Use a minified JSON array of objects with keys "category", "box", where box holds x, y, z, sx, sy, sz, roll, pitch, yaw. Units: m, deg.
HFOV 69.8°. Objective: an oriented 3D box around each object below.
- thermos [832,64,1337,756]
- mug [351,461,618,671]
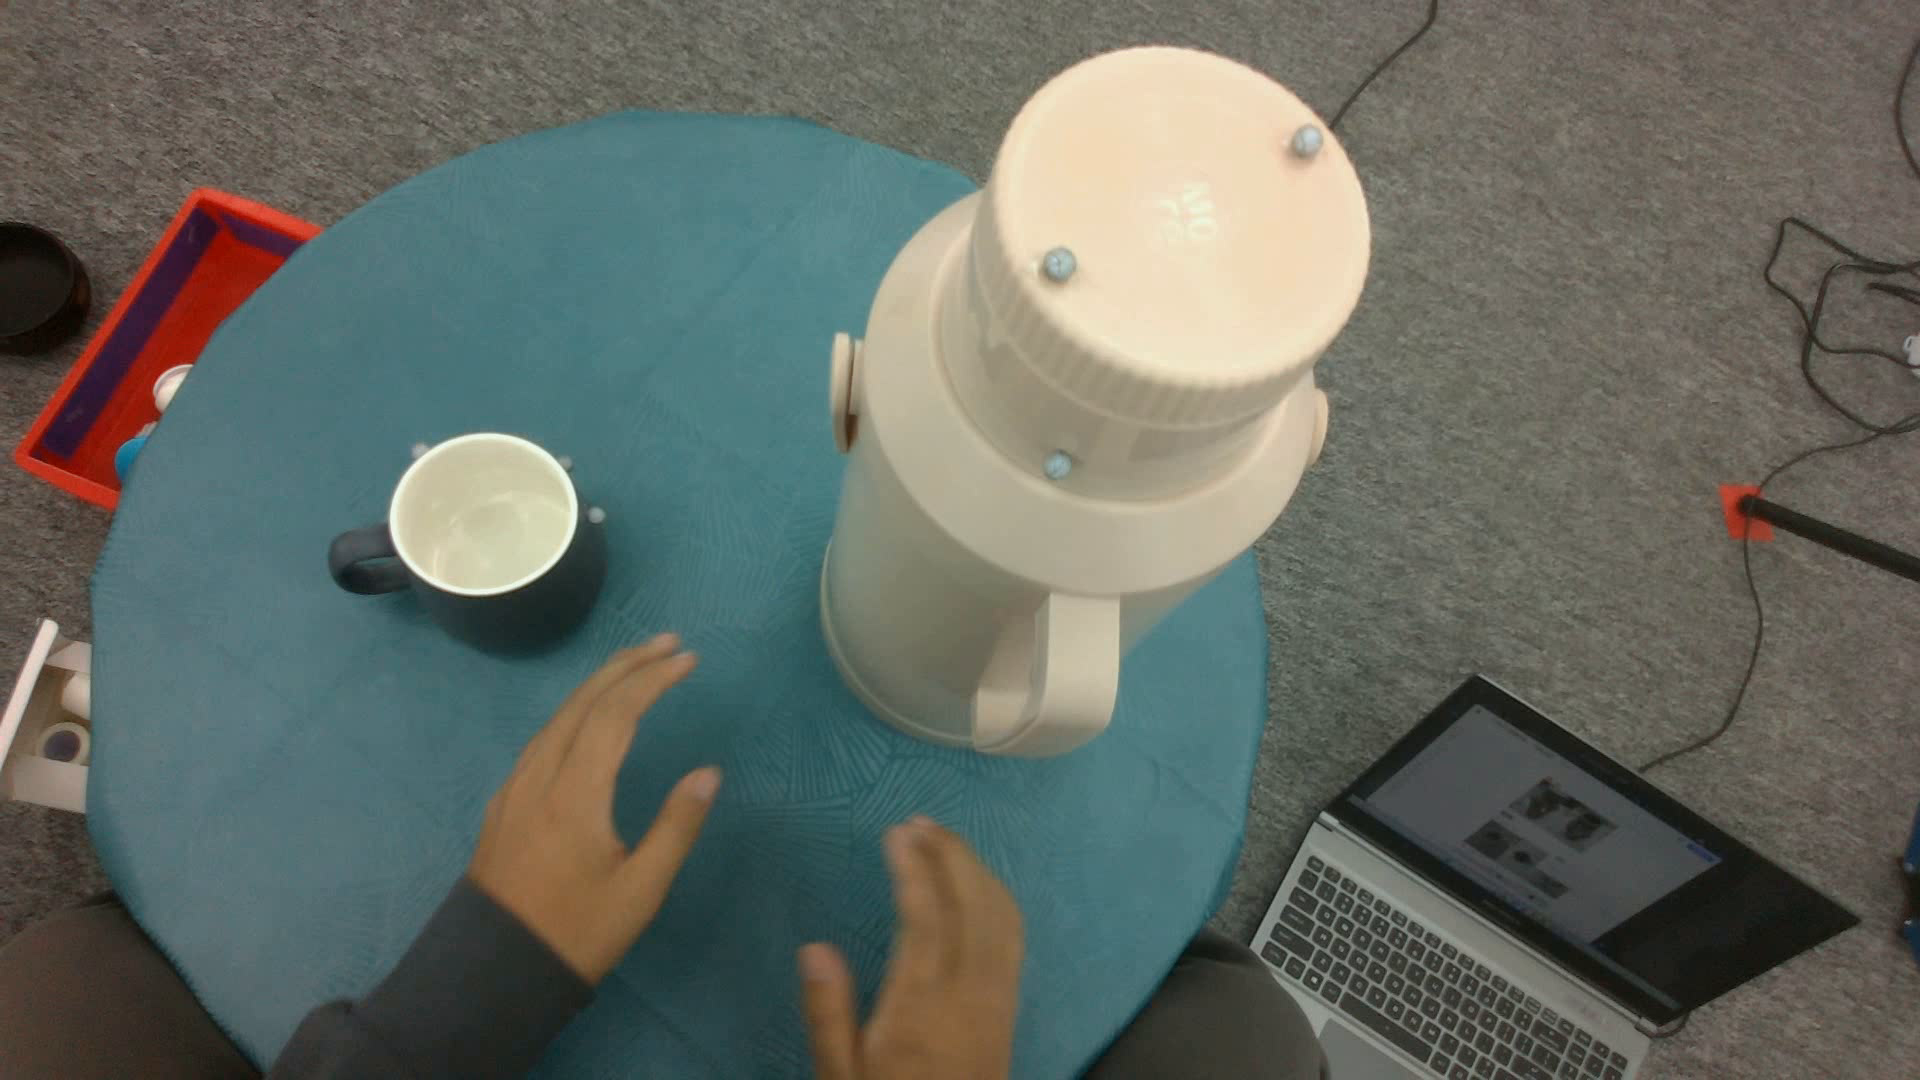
[{"category":"thermos","box":[0.031,-0.012,0.565,0.175,0.405,0.207,3,71,-7]},{"category":"mug","box":[-0.235,0.015,0.681,0.123,0.089,0.094,-10,73,-11]}]
